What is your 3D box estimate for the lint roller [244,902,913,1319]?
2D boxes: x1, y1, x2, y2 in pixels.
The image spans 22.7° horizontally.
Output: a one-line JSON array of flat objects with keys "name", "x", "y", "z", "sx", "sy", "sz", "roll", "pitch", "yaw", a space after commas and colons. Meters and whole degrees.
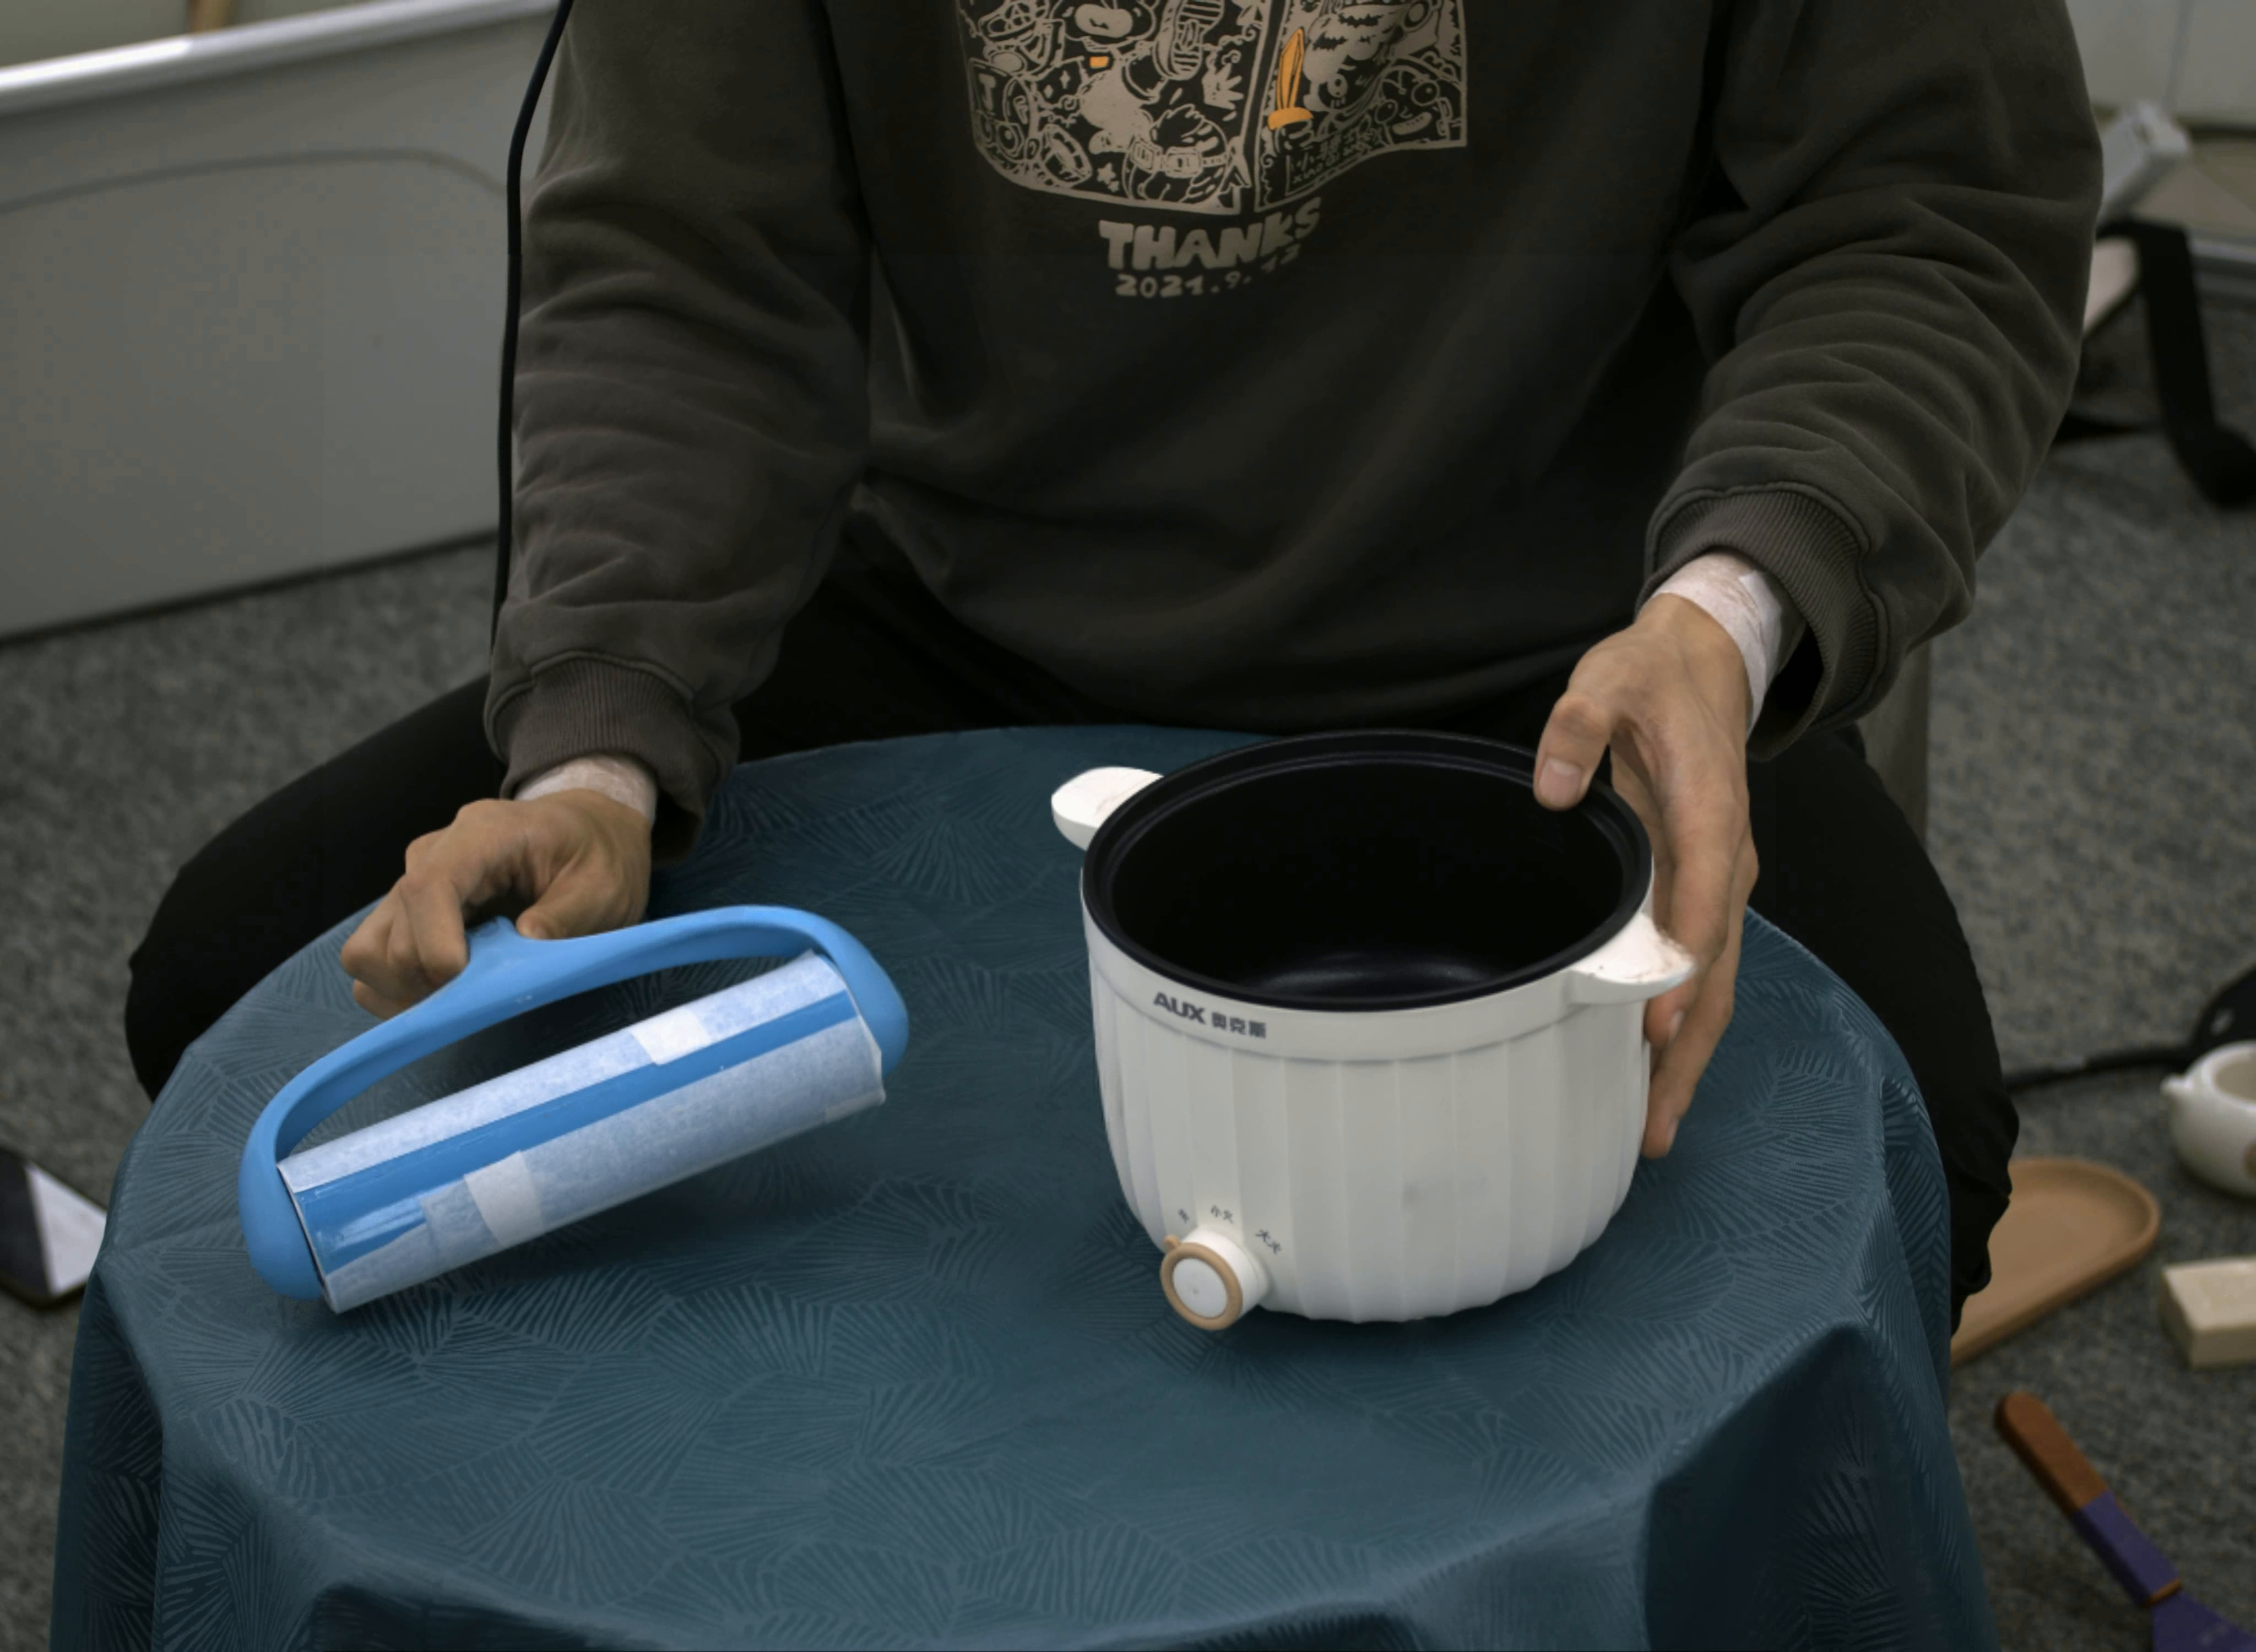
[{"name": "lint roller", "x": -0.202, "y": 0.070, "z": 1.876, "sx": 0.230, "sy": 0.067, "sz": 0.182, "roll": -24, "pitch": 38, "yaw": -14}]

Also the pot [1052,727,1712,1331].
[{"name": "pot", "x": 0.078, "y": 0.071, "z": 1.801, "sx": 0.239, "sy": 0.141, "sz": 0.193, "roll": 14, "pitch": 29, "yaw": 32}]
